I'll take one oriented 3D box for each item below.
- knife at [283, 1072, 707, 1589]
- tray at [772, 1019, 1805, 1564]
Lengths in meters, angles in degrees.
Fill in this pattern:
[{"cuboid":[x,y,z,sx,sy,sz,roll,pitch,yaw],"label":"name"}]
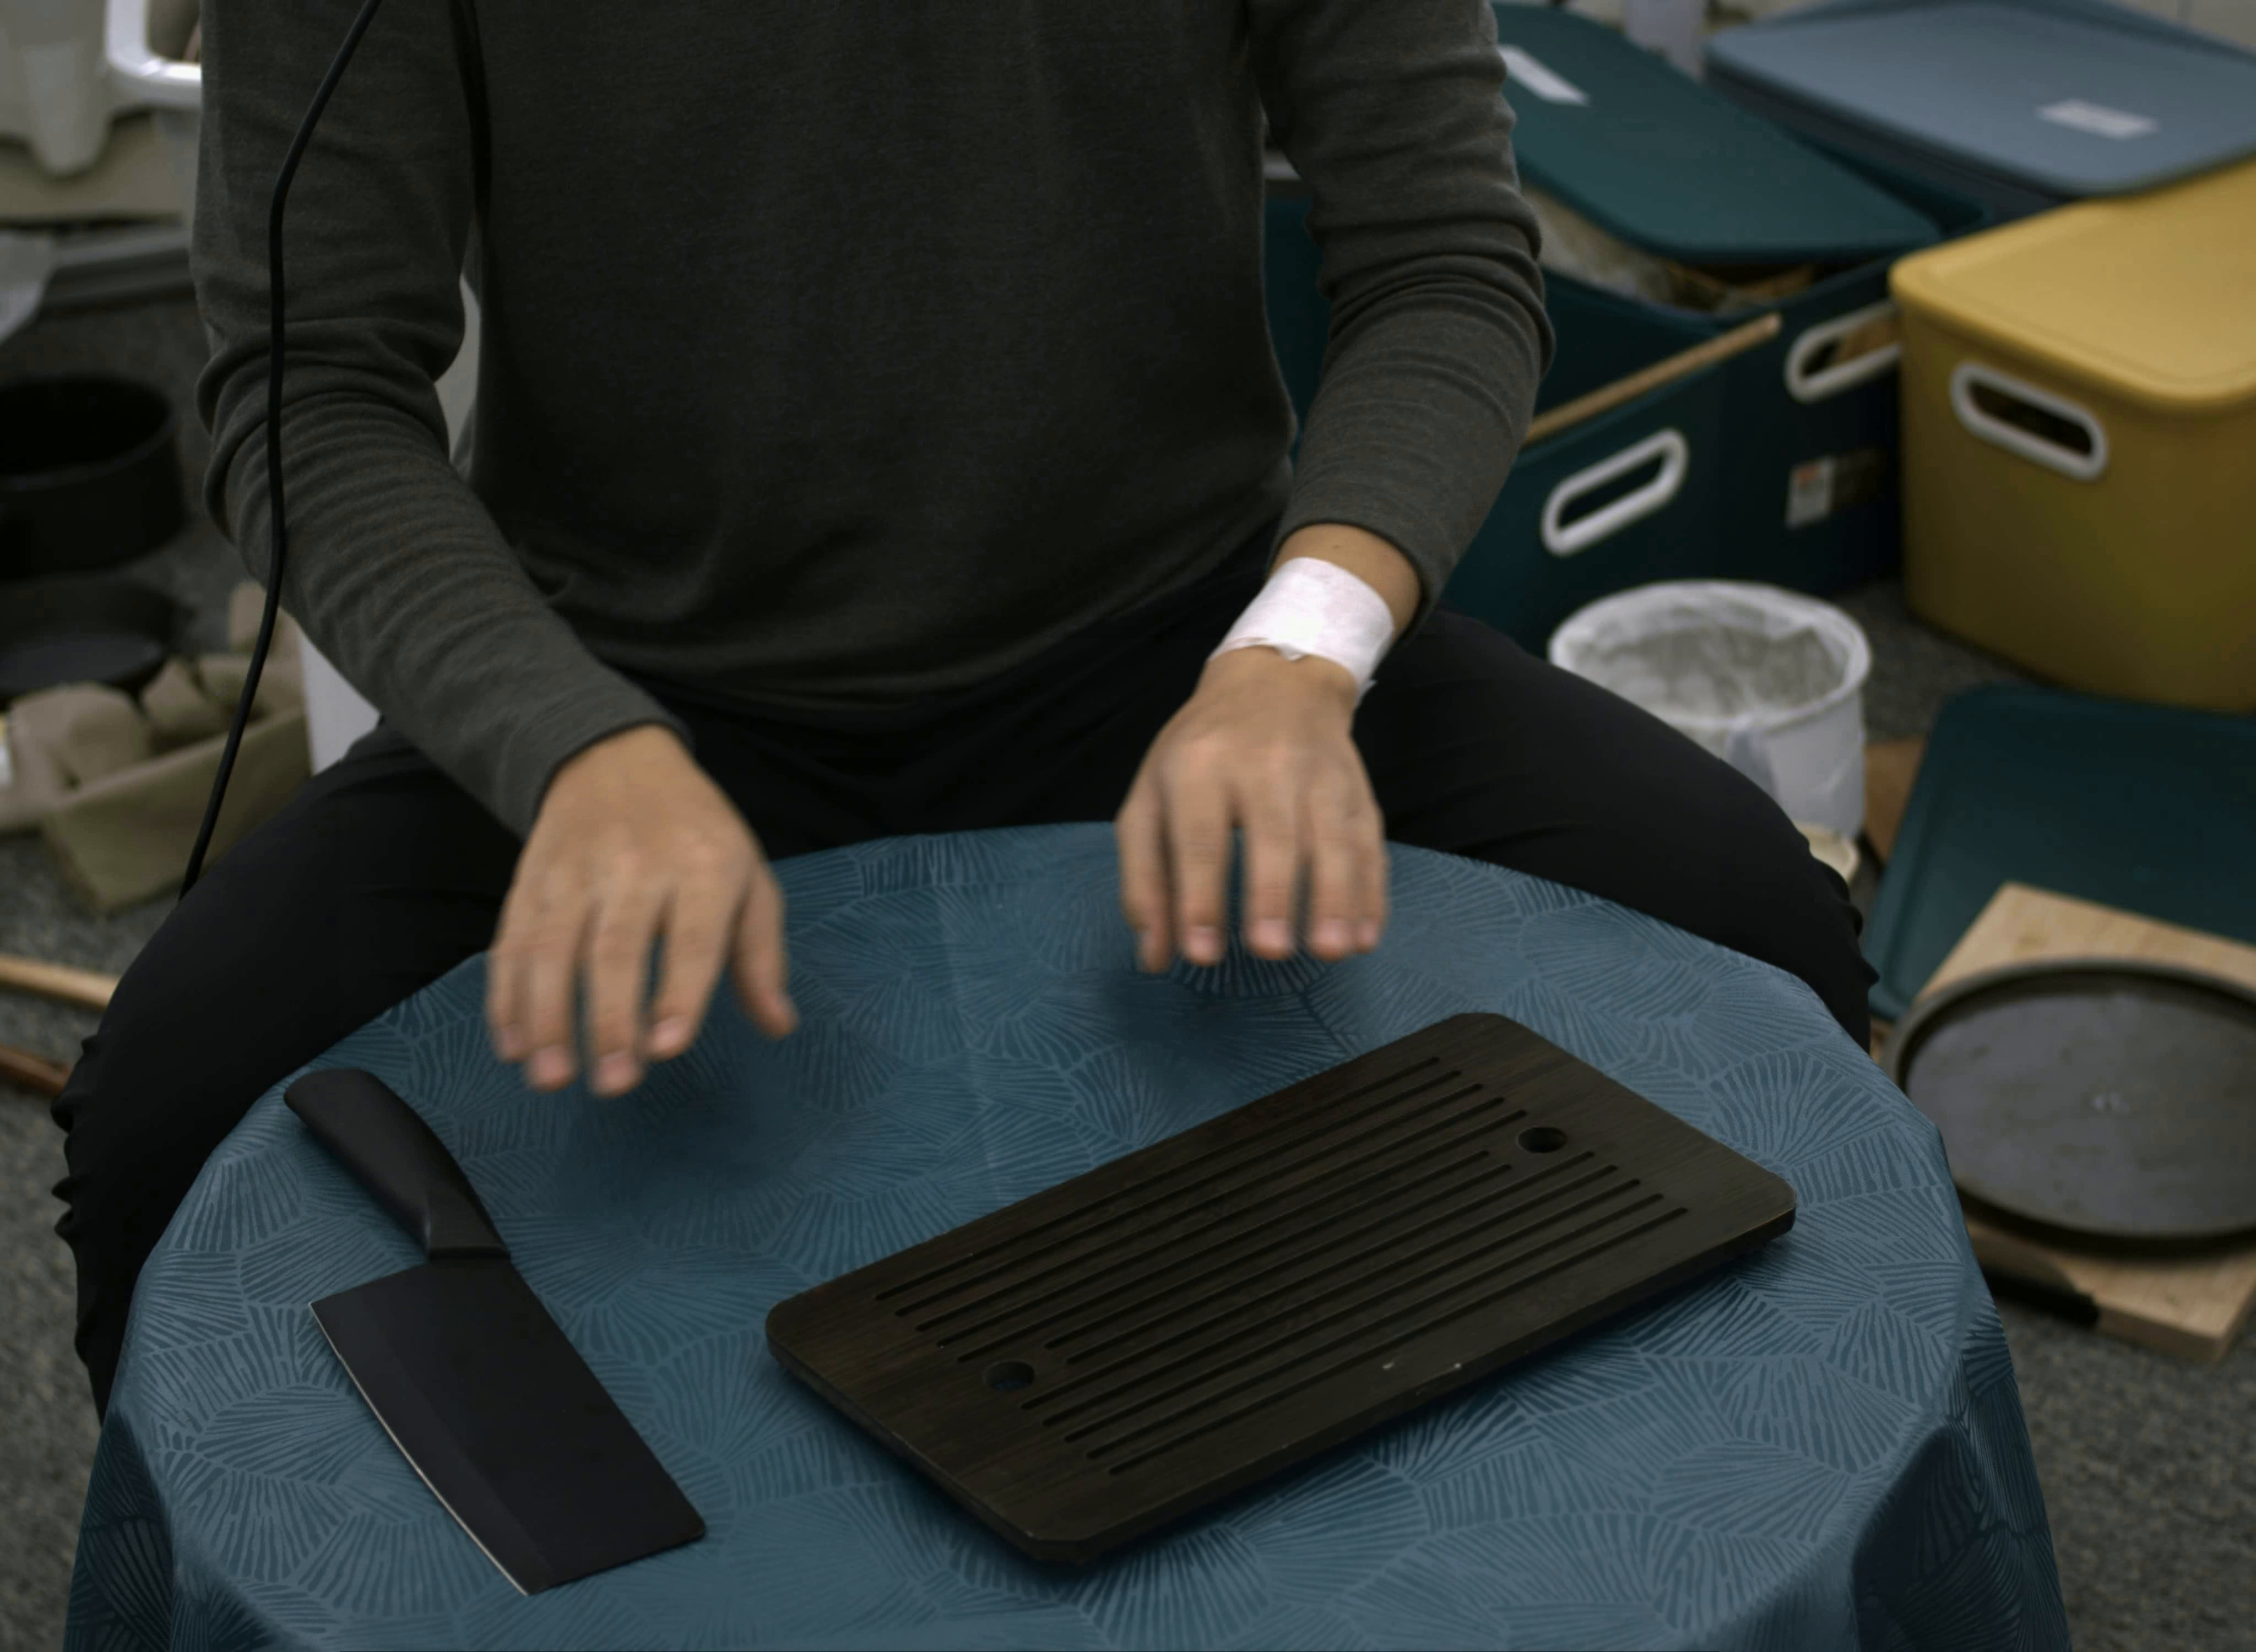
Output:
[{"cuboid":[-0.218,0.157,1.798,0.081,0.020,0.305,-14,31,-18],"label":"knife"},{"cuboid":[0.053,0.145,1.791,0.308,0.018,0.170,-20,31,-31],"label":"tray"}]
